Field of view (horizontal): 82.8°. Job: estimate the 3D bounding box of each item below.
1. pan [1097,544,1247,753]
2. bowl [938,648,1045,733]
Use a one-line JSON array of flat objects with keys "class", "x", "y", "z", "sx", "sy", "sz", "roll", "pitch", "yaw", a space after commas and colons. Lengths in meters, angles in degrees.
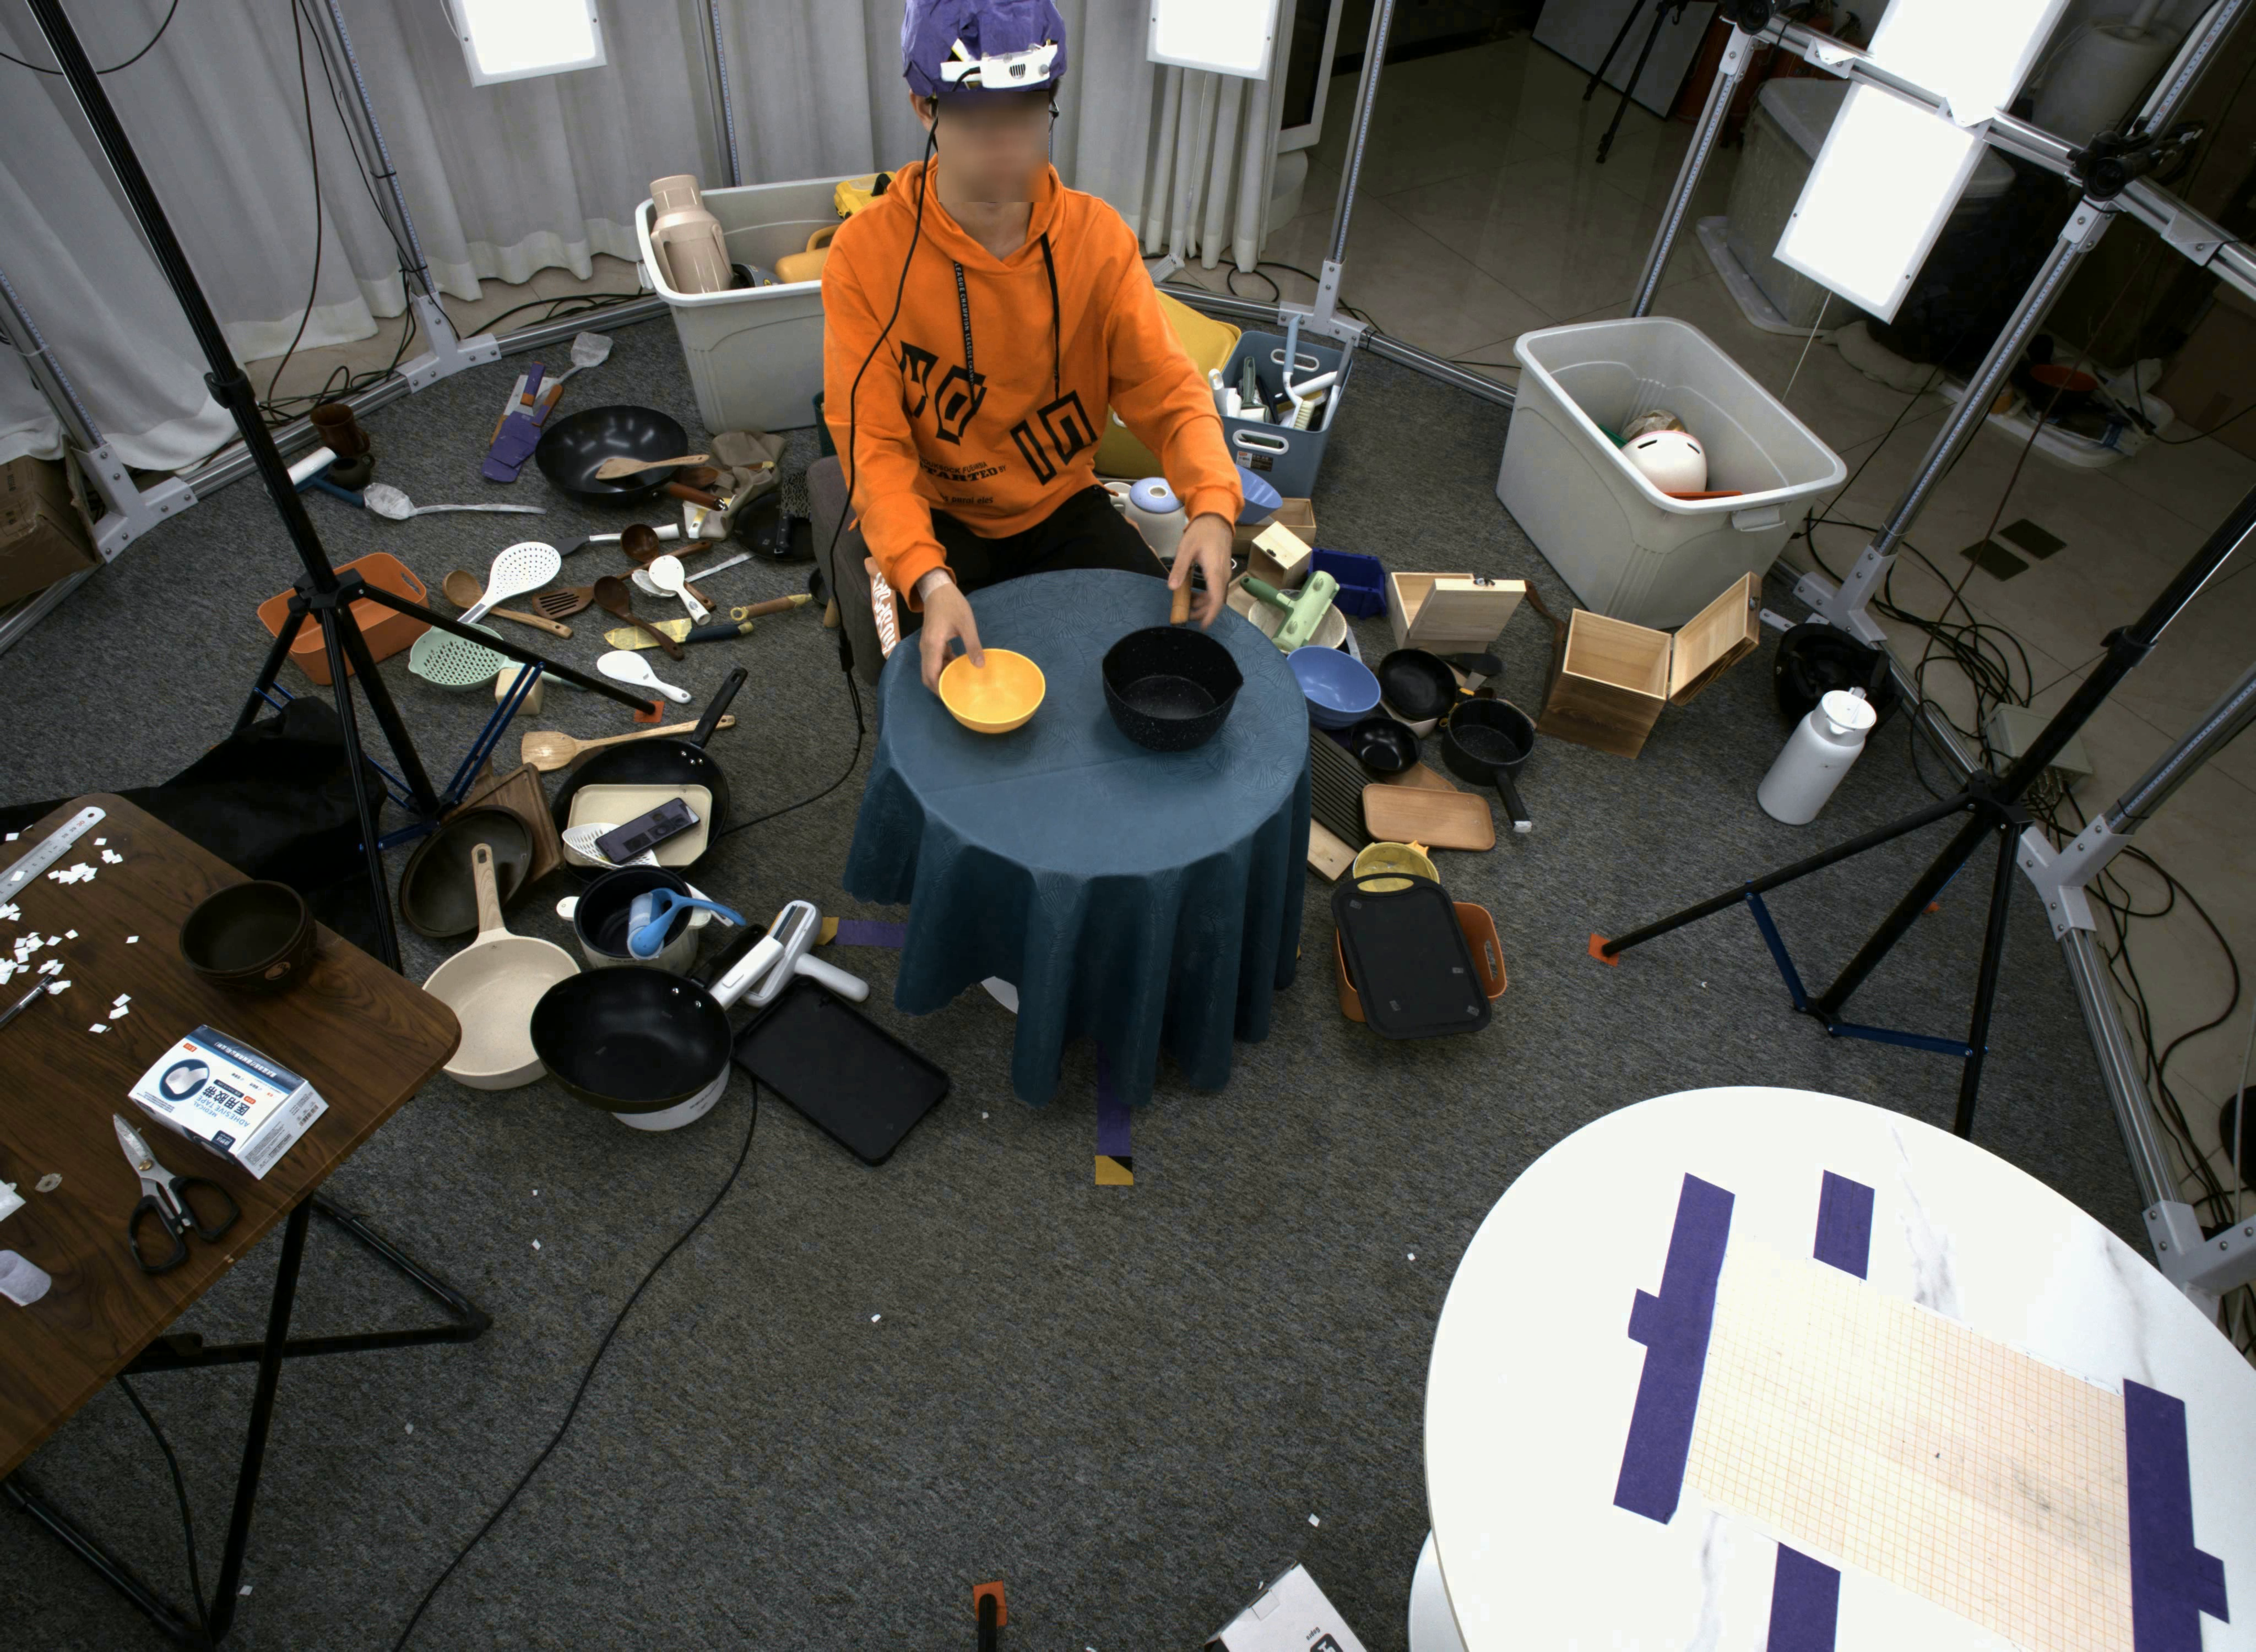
[{"class": "pan", "x": 0.066, "y": -0.254, "z": 1.824, "sx": 0.207, "sy": 0.105, "sz": 0.351, "roll": 6, "pitch": 50, "yaw": 3}, {"class": "bowl", "x": -0.188, "y": -0.175, "z": 1.770, "sx": 0.145, "sy": 0.058, "sz": 0.149, "roll": 3, "pitch": 49, "yaw": -3}]
